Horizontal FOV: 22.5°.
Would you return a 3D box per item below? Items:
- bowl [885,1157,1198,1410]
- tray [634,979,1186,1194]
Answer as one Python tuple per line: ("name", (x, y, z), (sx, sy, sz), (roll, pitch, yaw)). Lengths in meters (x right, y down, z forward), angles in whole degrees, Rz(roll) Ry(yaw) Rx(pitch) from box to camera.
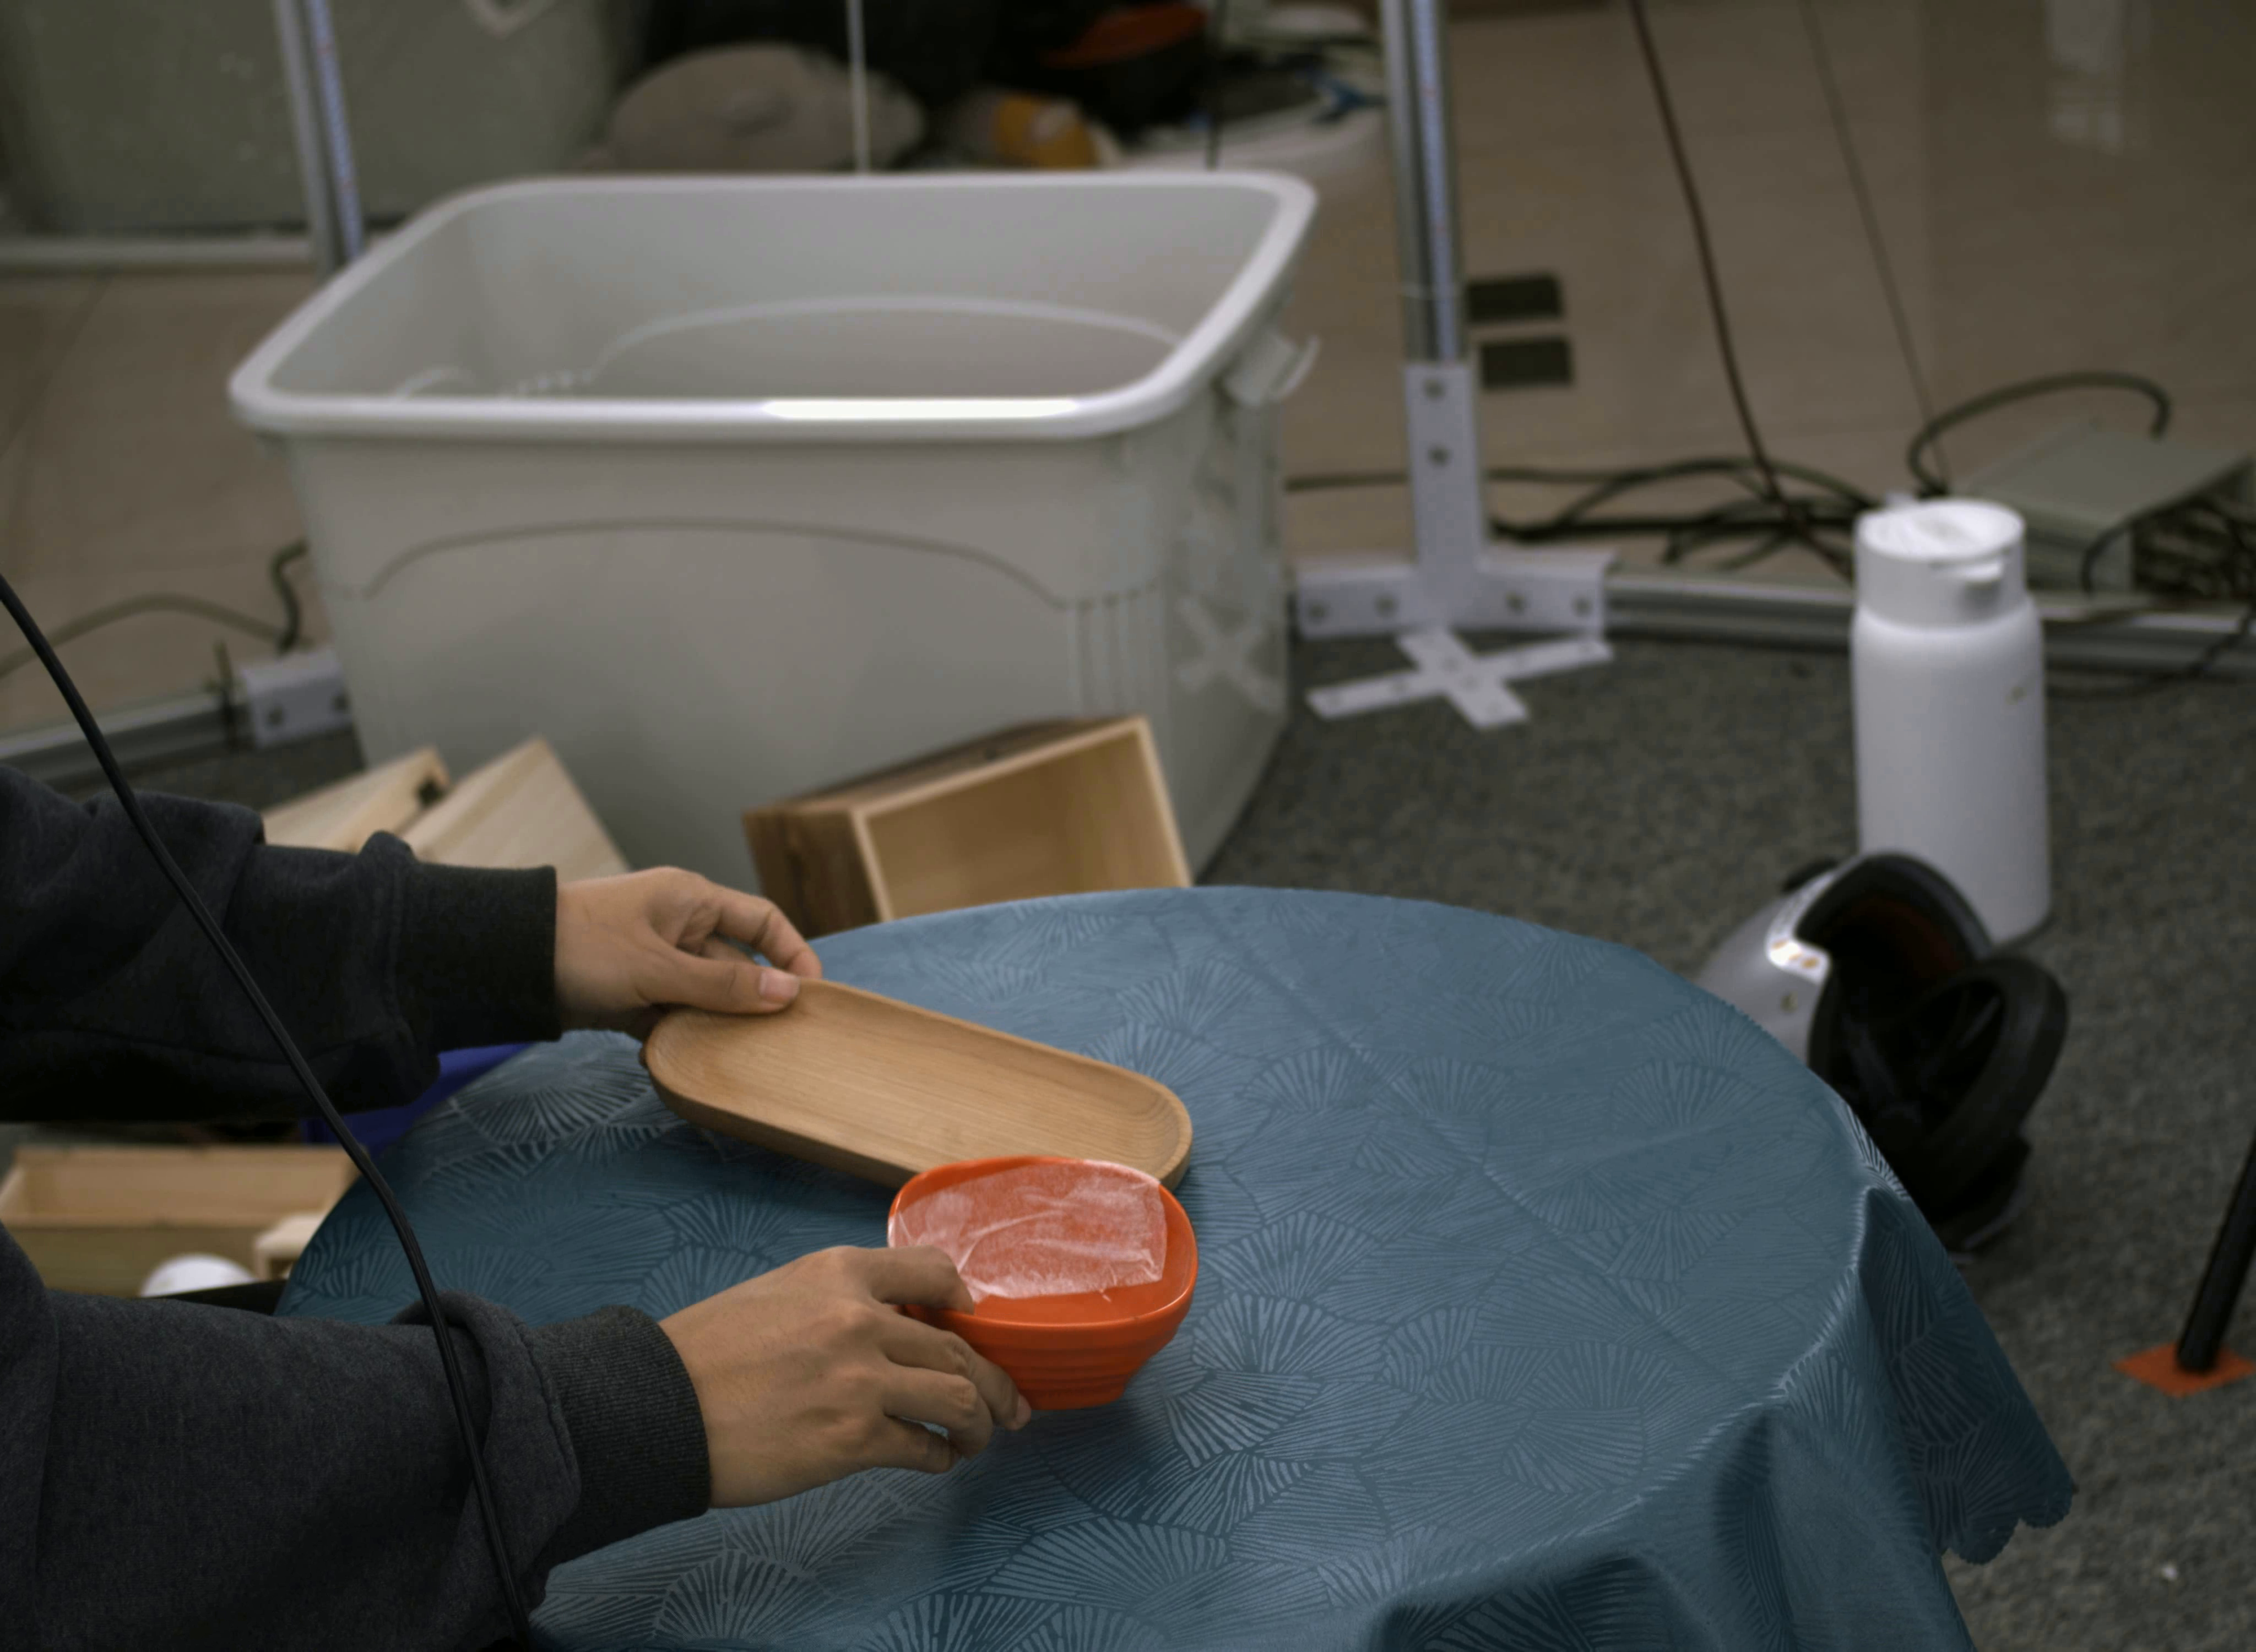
("bowl", (-0.032, 0.166, 1.999), (0.119, 0.052, 0.117), (4, 29, -2))
("tray", (-0.085, 0.107, 2.186), (0.230, 0.020, 0.100), (14, 33, 26))
